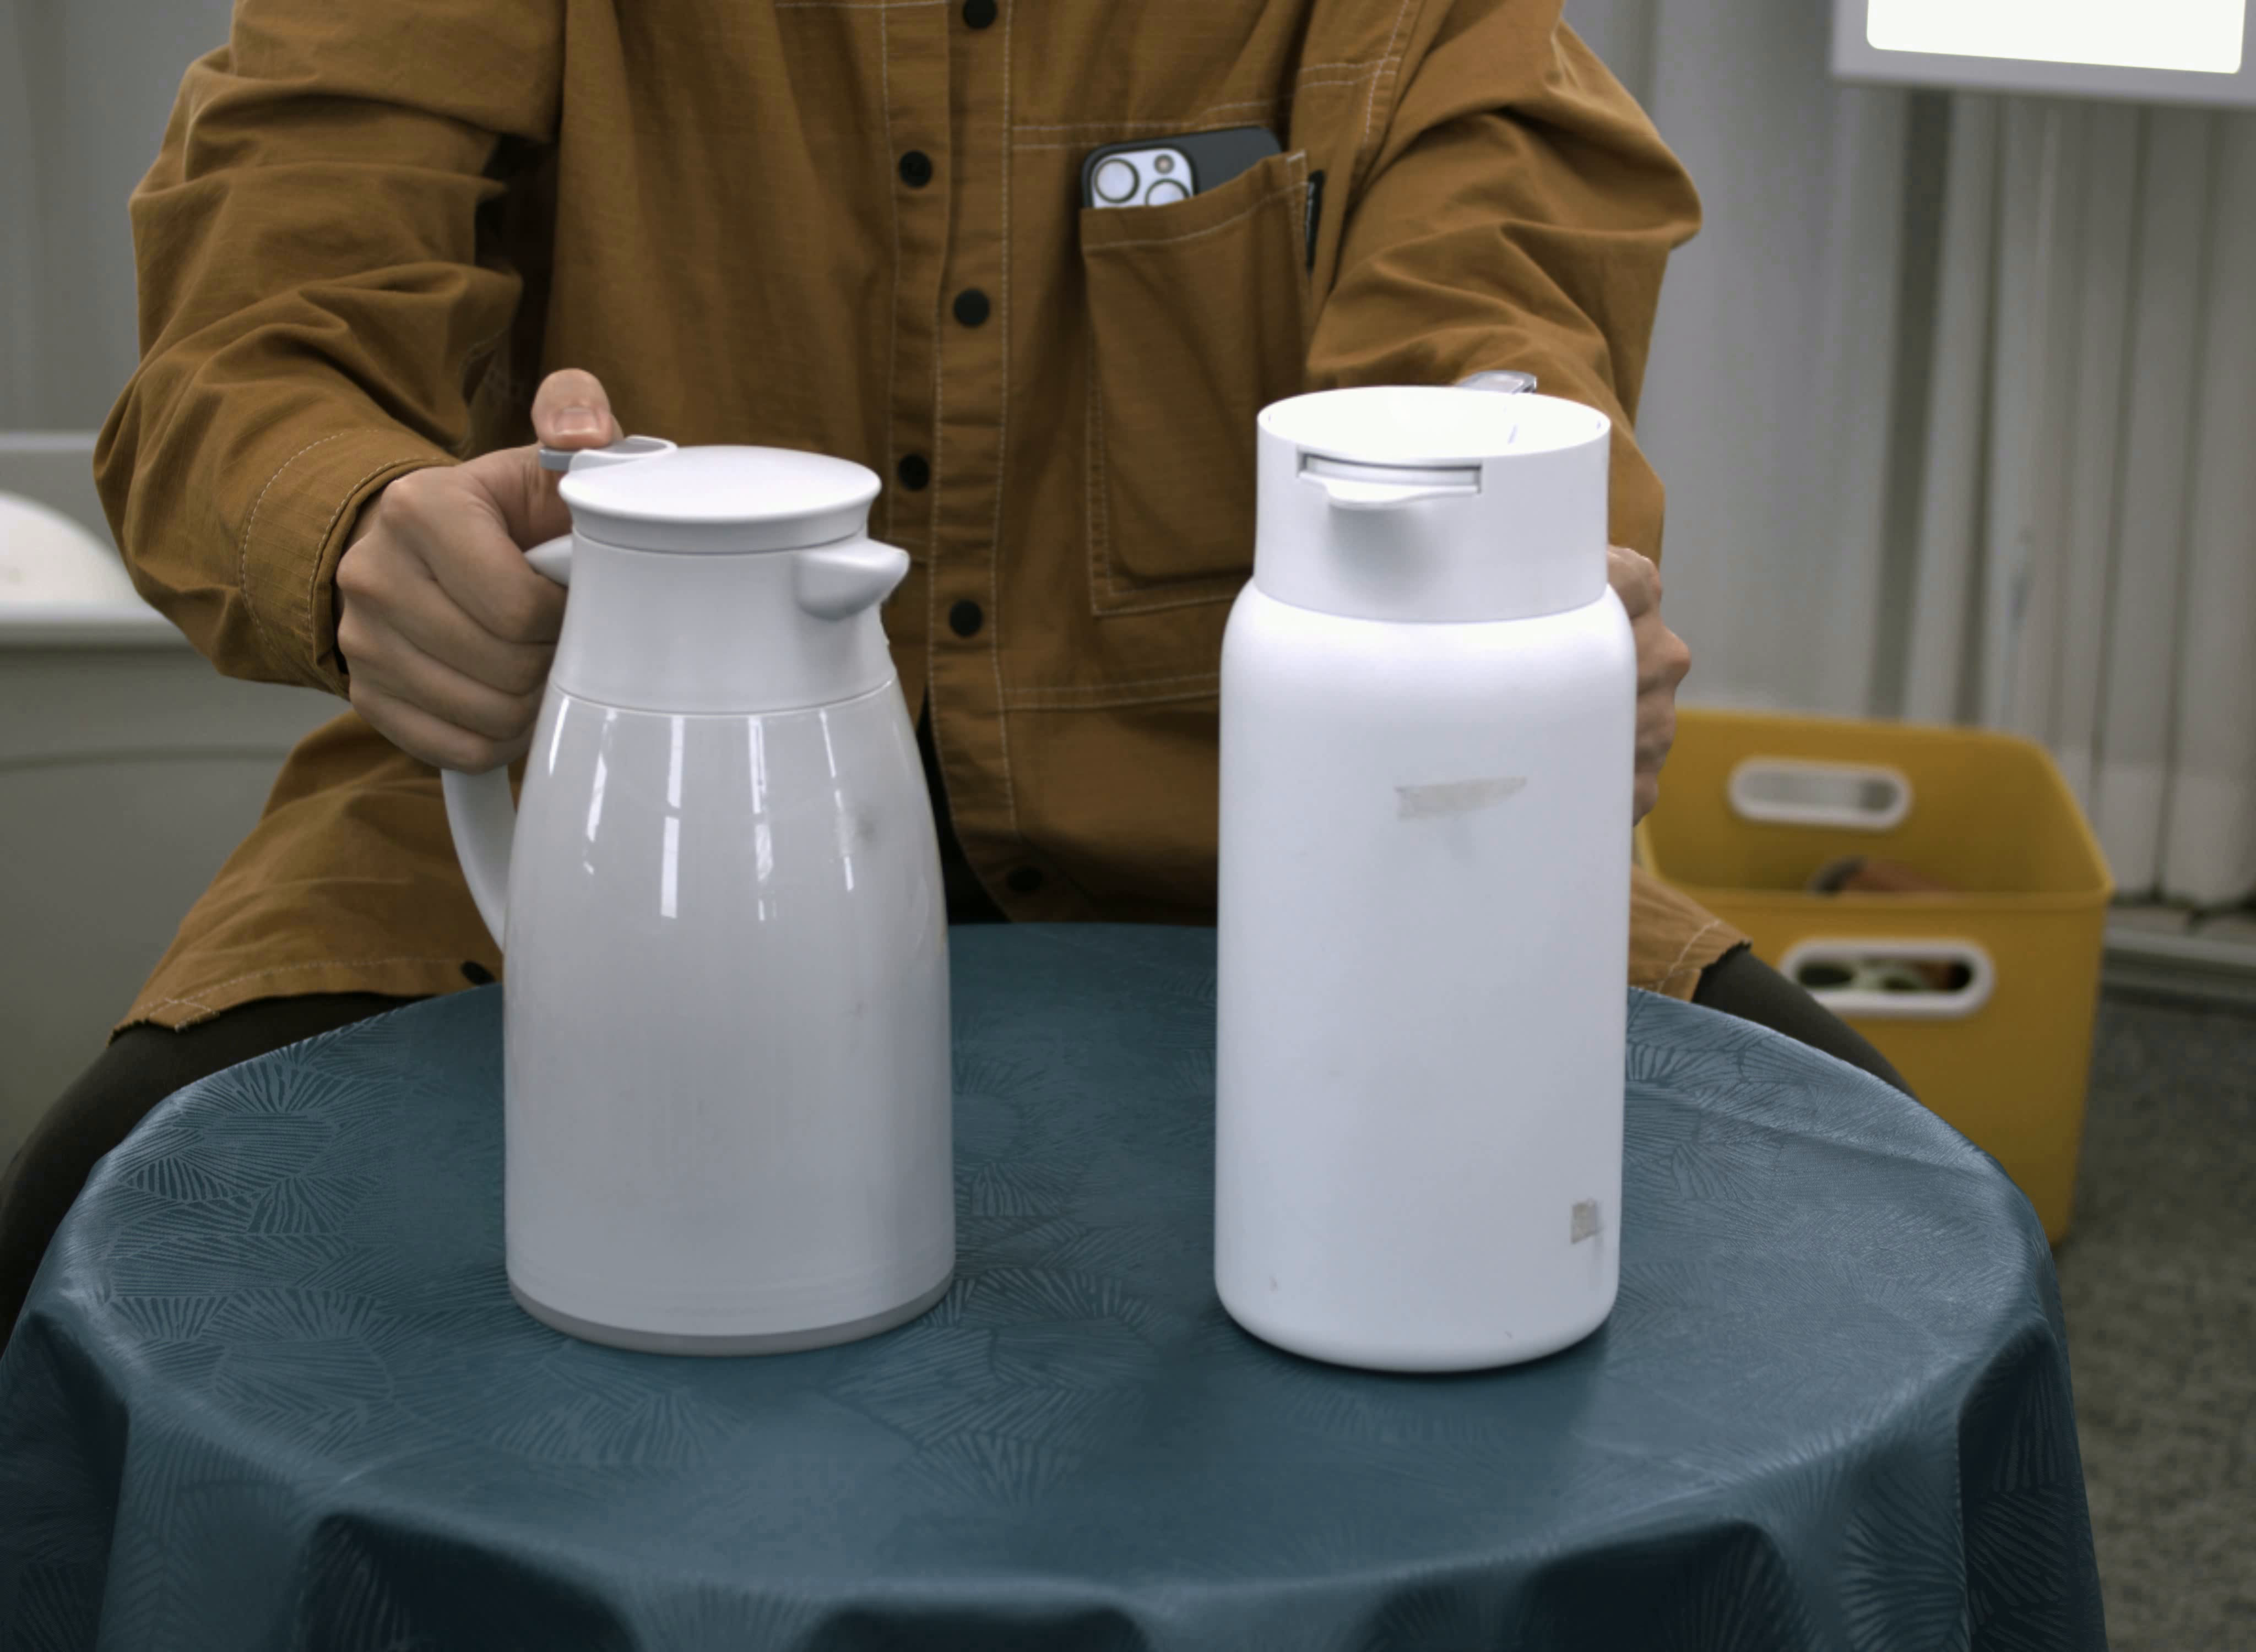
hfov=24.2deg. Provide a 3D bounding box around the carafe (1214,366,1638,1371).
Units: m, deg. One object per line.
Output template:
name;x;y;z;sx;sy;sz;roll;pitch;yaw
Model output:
carafe;0.088;0.007;1.502;0.123;0.271;0.173;4;16;19

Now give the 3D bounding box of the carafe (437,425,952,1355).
carafe;-0.132;0.010;1.520;0.165;0.250;0.133;10;19;34
